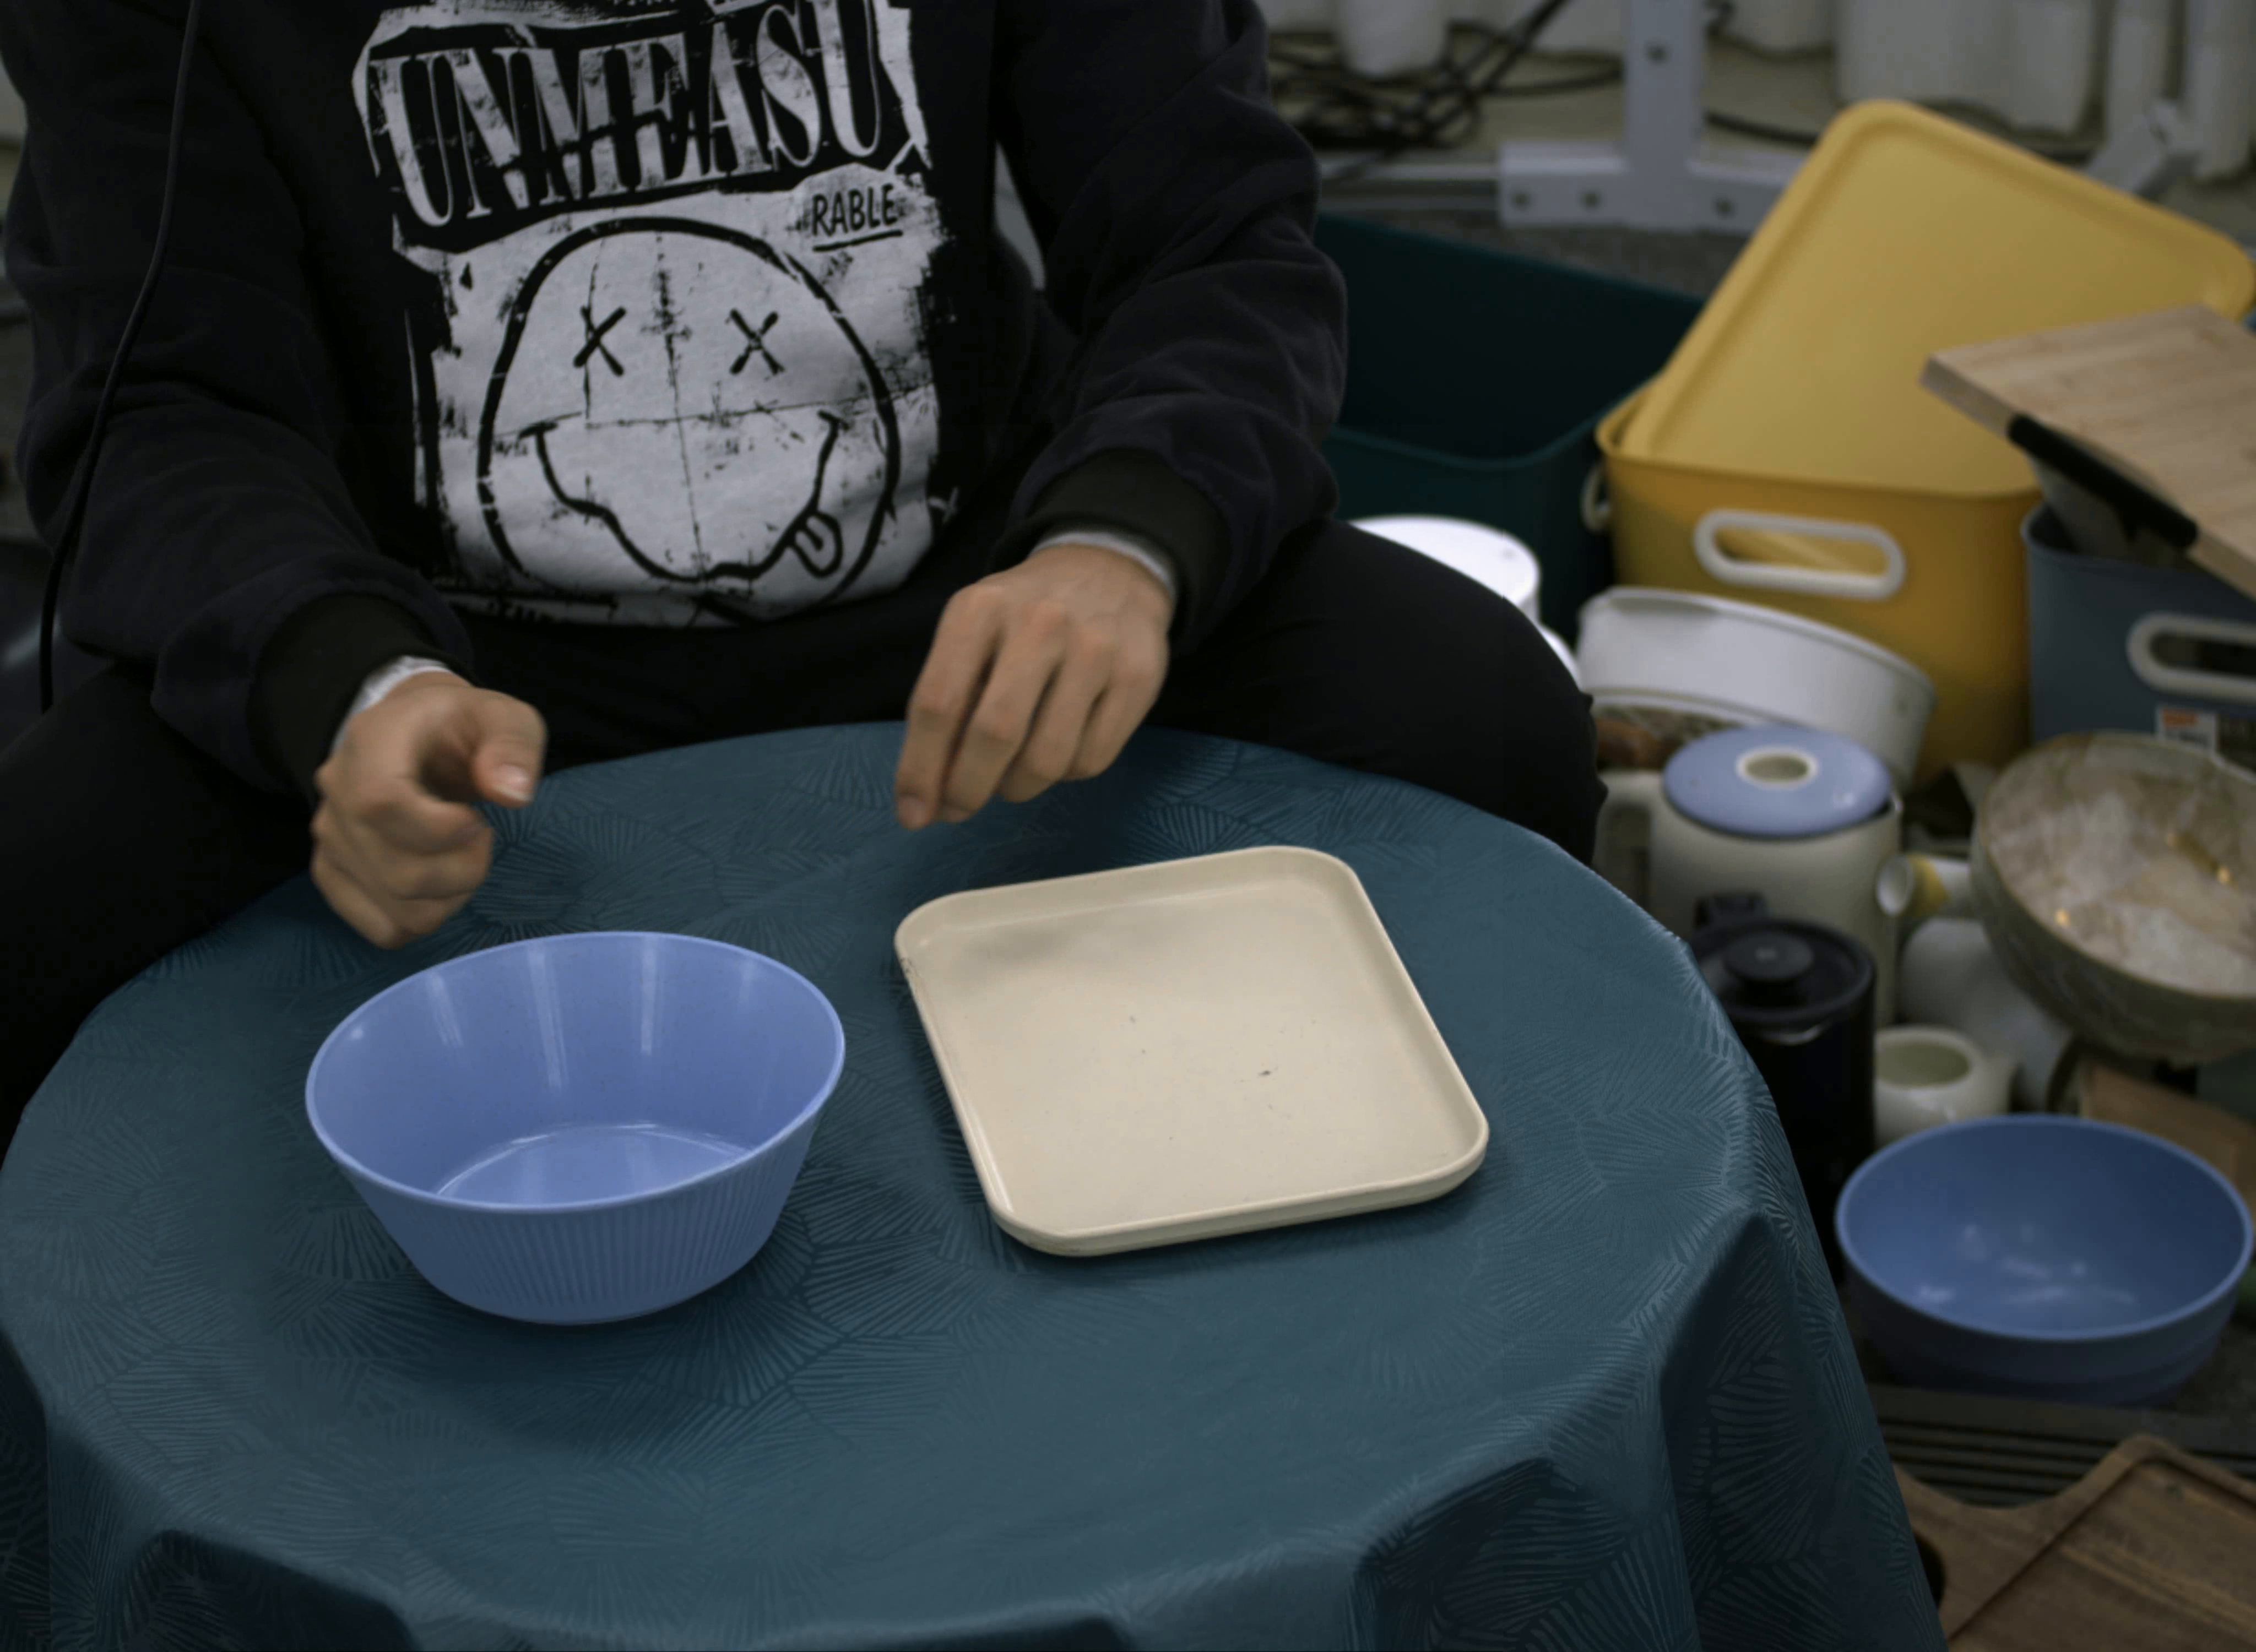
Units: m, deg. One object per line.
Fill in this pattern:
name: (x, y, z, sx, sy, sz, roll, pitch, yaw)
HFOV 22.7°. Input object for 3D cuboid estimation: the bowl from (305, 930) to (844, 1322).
bowl: (-0.178, 0.104, 1.836, 0.175, 0.069, 0.179, -2, 28, 1)

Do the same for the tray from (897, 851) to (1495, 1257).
tray: (0.020, 0.077, 1.927, 0.171, 0.017, 0.242, -7, 28, -10)
